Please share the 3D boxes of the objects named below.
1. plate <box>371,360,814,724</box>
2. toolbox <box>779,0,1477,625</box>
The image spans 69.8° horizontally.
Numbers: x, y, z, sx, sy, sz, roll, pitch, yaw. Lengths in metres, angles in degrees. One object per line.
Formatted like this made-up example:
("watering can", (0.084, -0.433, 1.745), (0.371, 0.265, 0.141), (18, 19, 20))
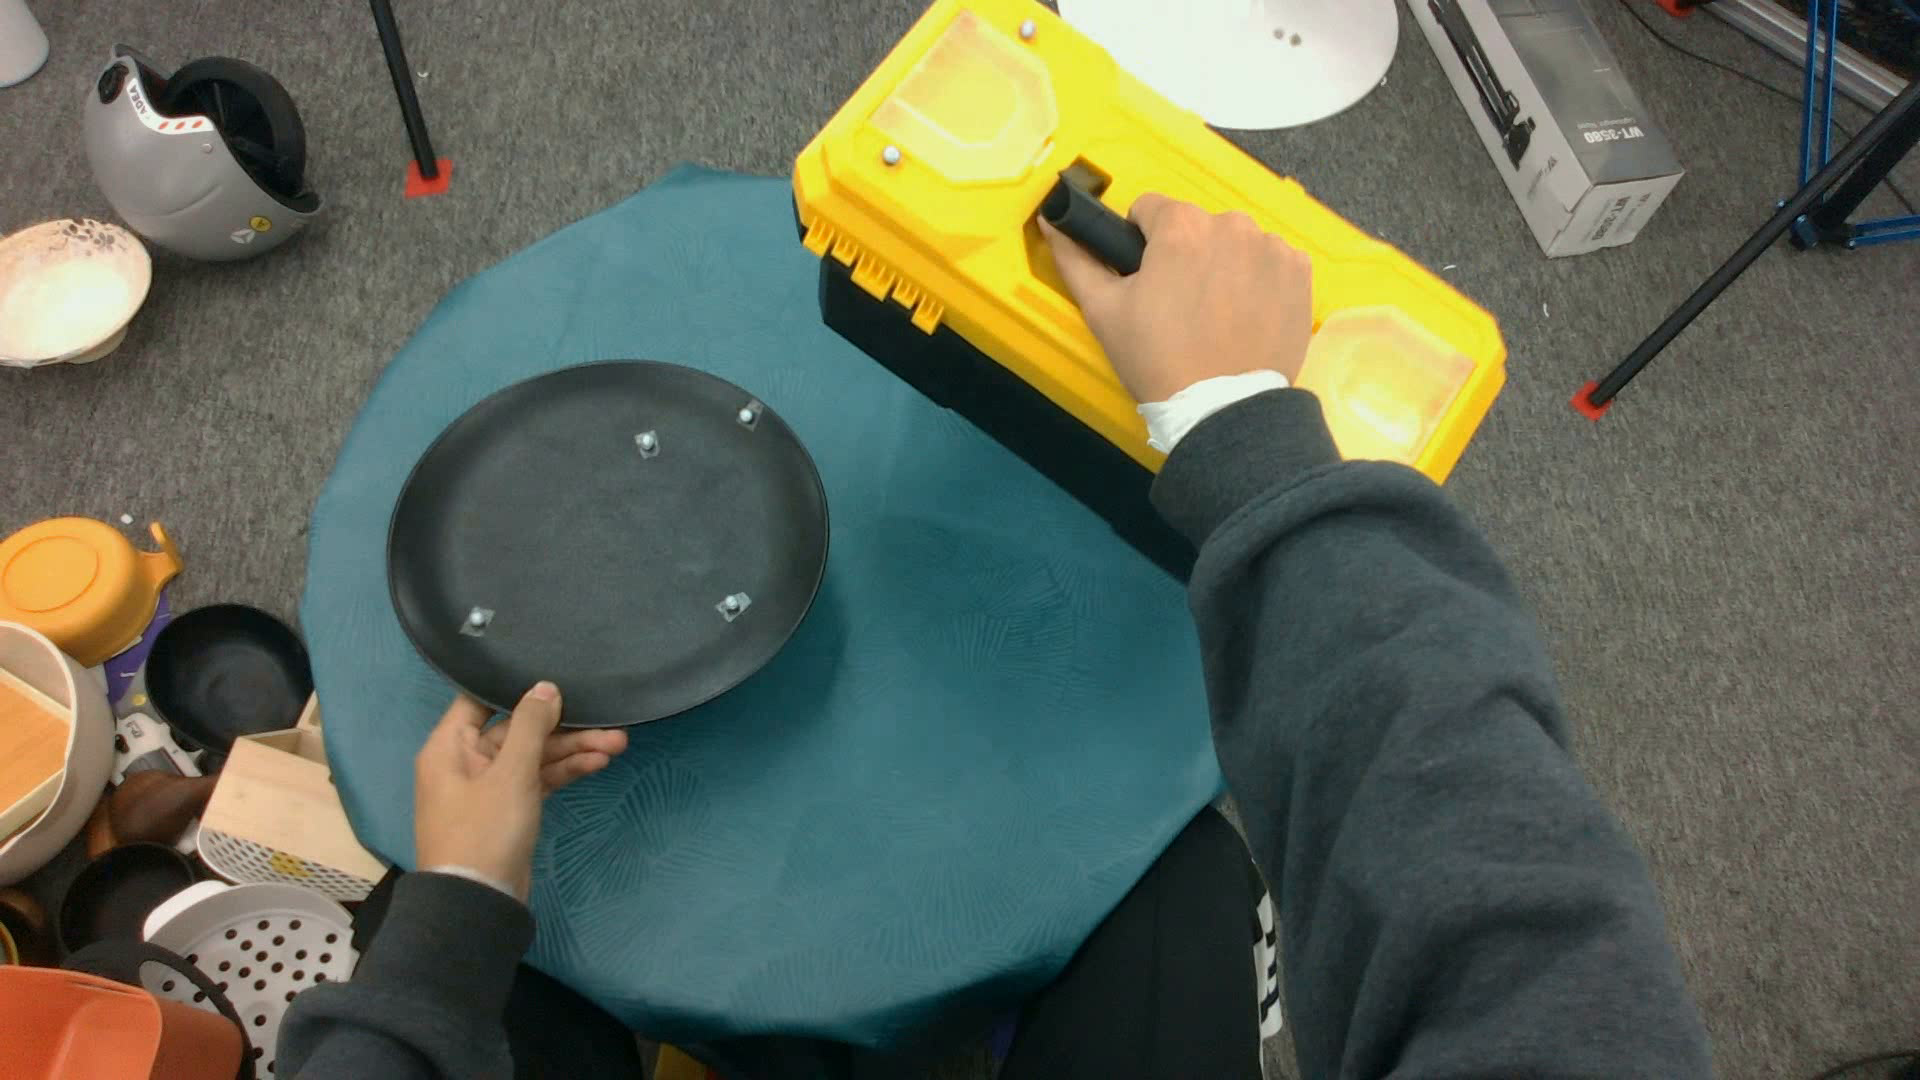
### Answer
("plate", (-0.206, -0.002, 0.790), (0.244, 0.023, 0.245), (3, 57, -5))
("toolbox", (0.081, -0.115, 0.747), (0.351, 0.172, 0.182), (37, 66, 3))
